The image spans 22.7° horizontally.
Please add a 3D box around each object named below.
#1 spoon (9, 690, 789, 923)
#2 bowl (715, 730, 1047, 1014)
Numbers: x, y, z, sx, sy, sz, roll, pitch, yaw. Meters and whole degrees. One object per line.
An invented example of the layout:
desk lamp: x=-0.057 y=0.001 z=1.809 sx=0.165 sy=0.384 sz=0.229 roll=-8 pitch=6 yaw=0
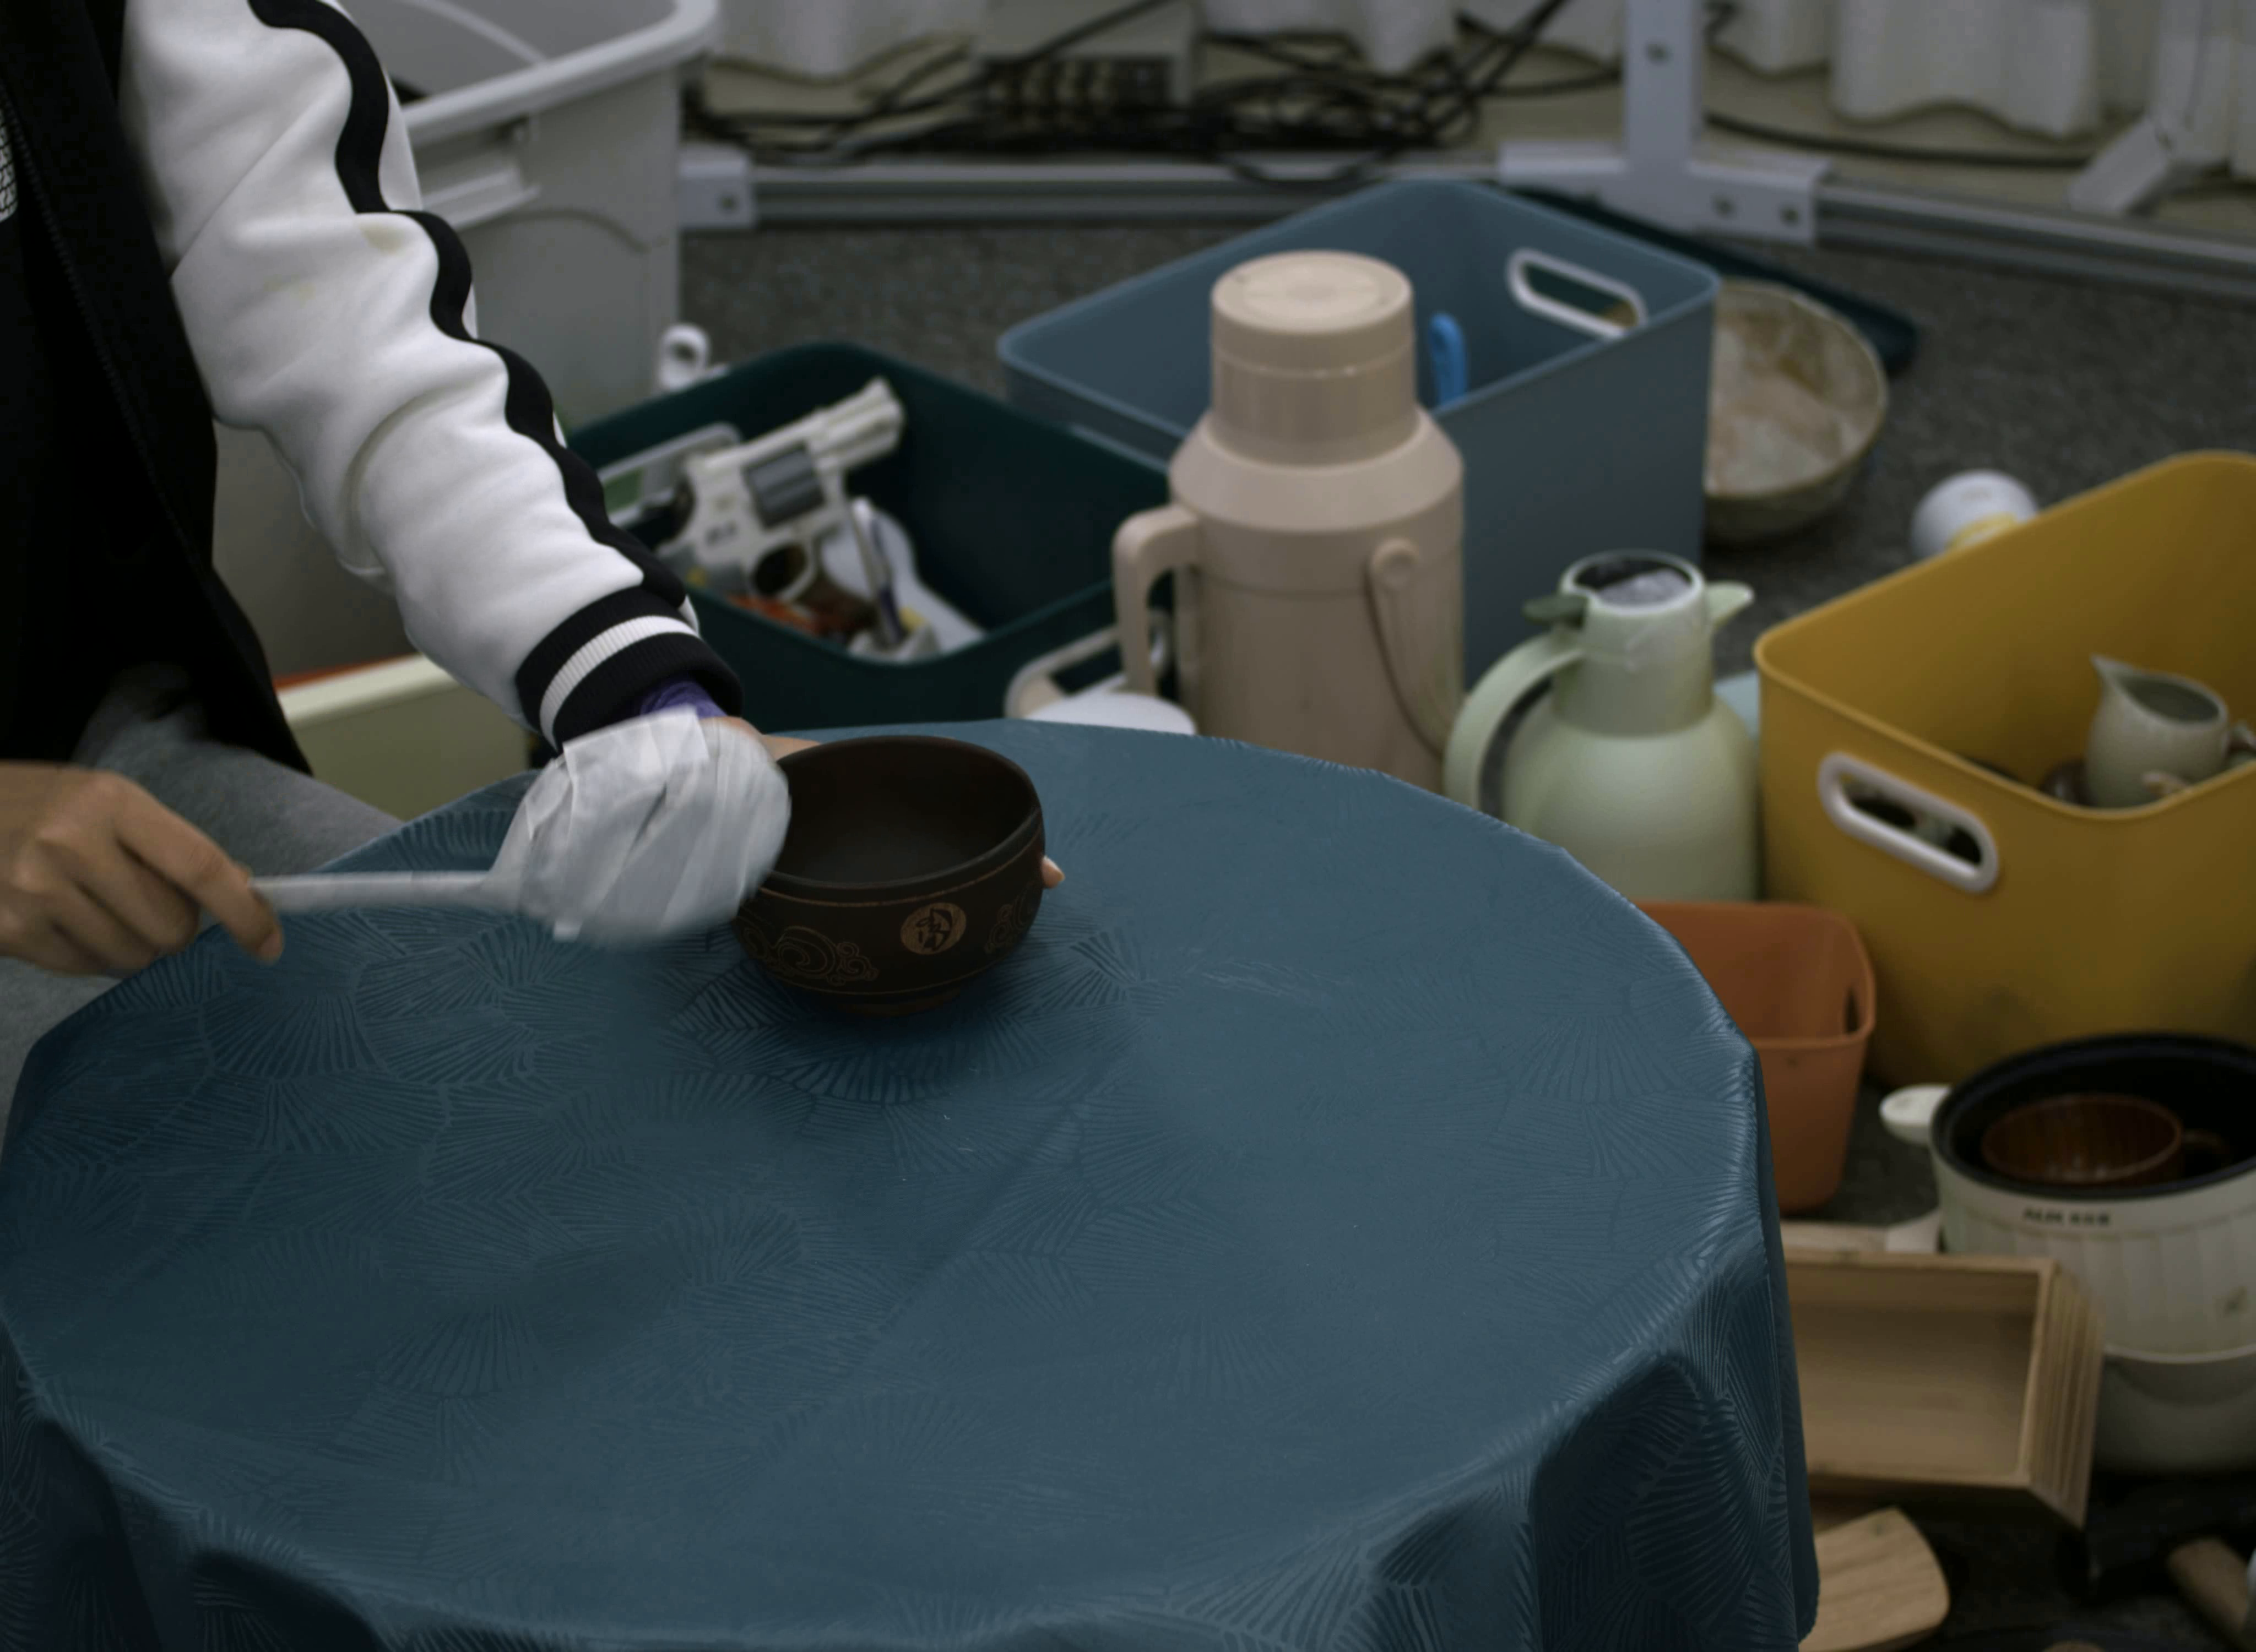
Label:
spoon: x=-0.243 y=0.000 z=1.862 sx=0.275 sy=0.099 sz=0.060 roll=-2 pitch=49 yaw=24
bowl: x=-0.086 y=0.023 z=1.982 sx=0.117 sy=0.069 sz=0.120 roll=-2 pitch=27 yaw=1
